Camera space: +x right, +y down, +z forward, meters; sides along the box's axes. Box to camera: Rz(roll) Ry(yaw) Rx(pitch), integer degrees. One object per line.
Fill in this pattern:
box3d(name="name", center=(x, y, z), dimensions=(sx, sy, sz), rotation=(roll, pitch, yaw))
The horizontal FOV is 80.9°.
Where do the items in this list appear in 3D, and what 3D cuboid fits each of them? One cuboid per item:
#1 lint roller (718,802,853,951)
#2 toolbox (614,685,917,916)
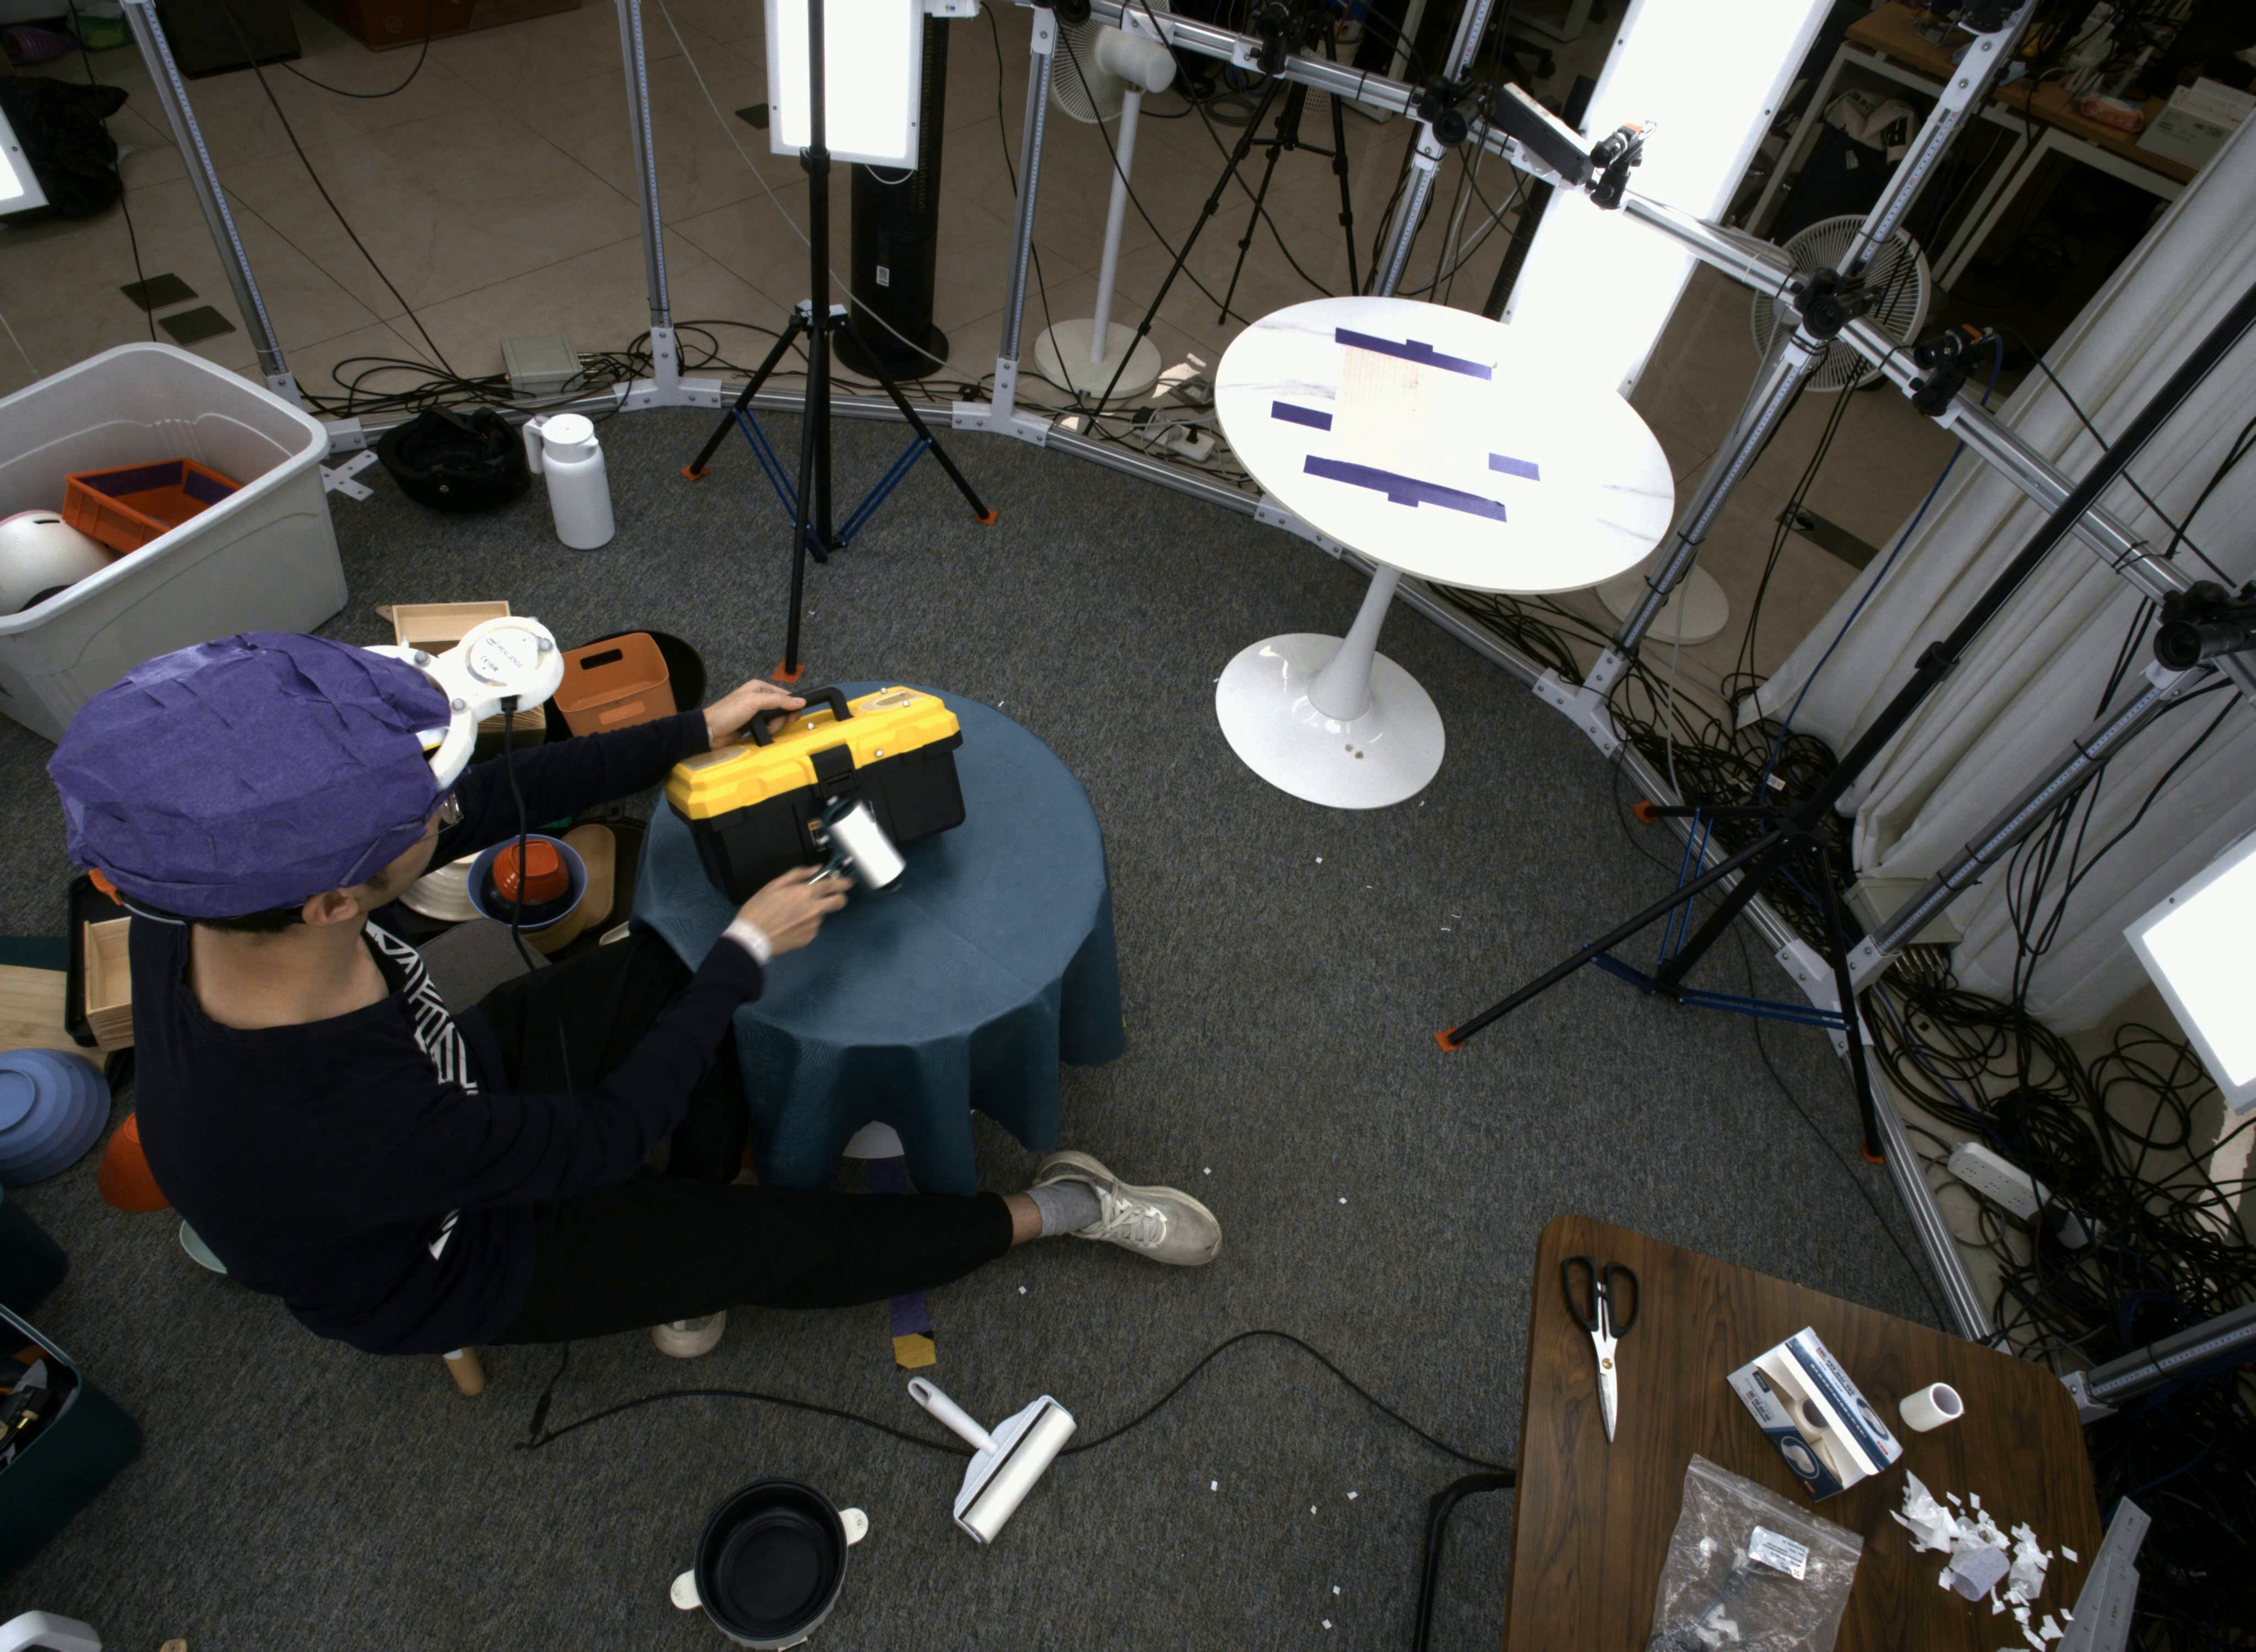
box3d(name="lint roller", center=(-0.416, 0.077, 1.538), dimensions=(0.139, 0.047, 0.179), rotation=(57, 50, -28))
box3d(name="toolbox", center=(-0.446, -0.038, 1.621), dimensions=(0.353, 0.178, 0.175), rotation=(-25, 24, -28))
